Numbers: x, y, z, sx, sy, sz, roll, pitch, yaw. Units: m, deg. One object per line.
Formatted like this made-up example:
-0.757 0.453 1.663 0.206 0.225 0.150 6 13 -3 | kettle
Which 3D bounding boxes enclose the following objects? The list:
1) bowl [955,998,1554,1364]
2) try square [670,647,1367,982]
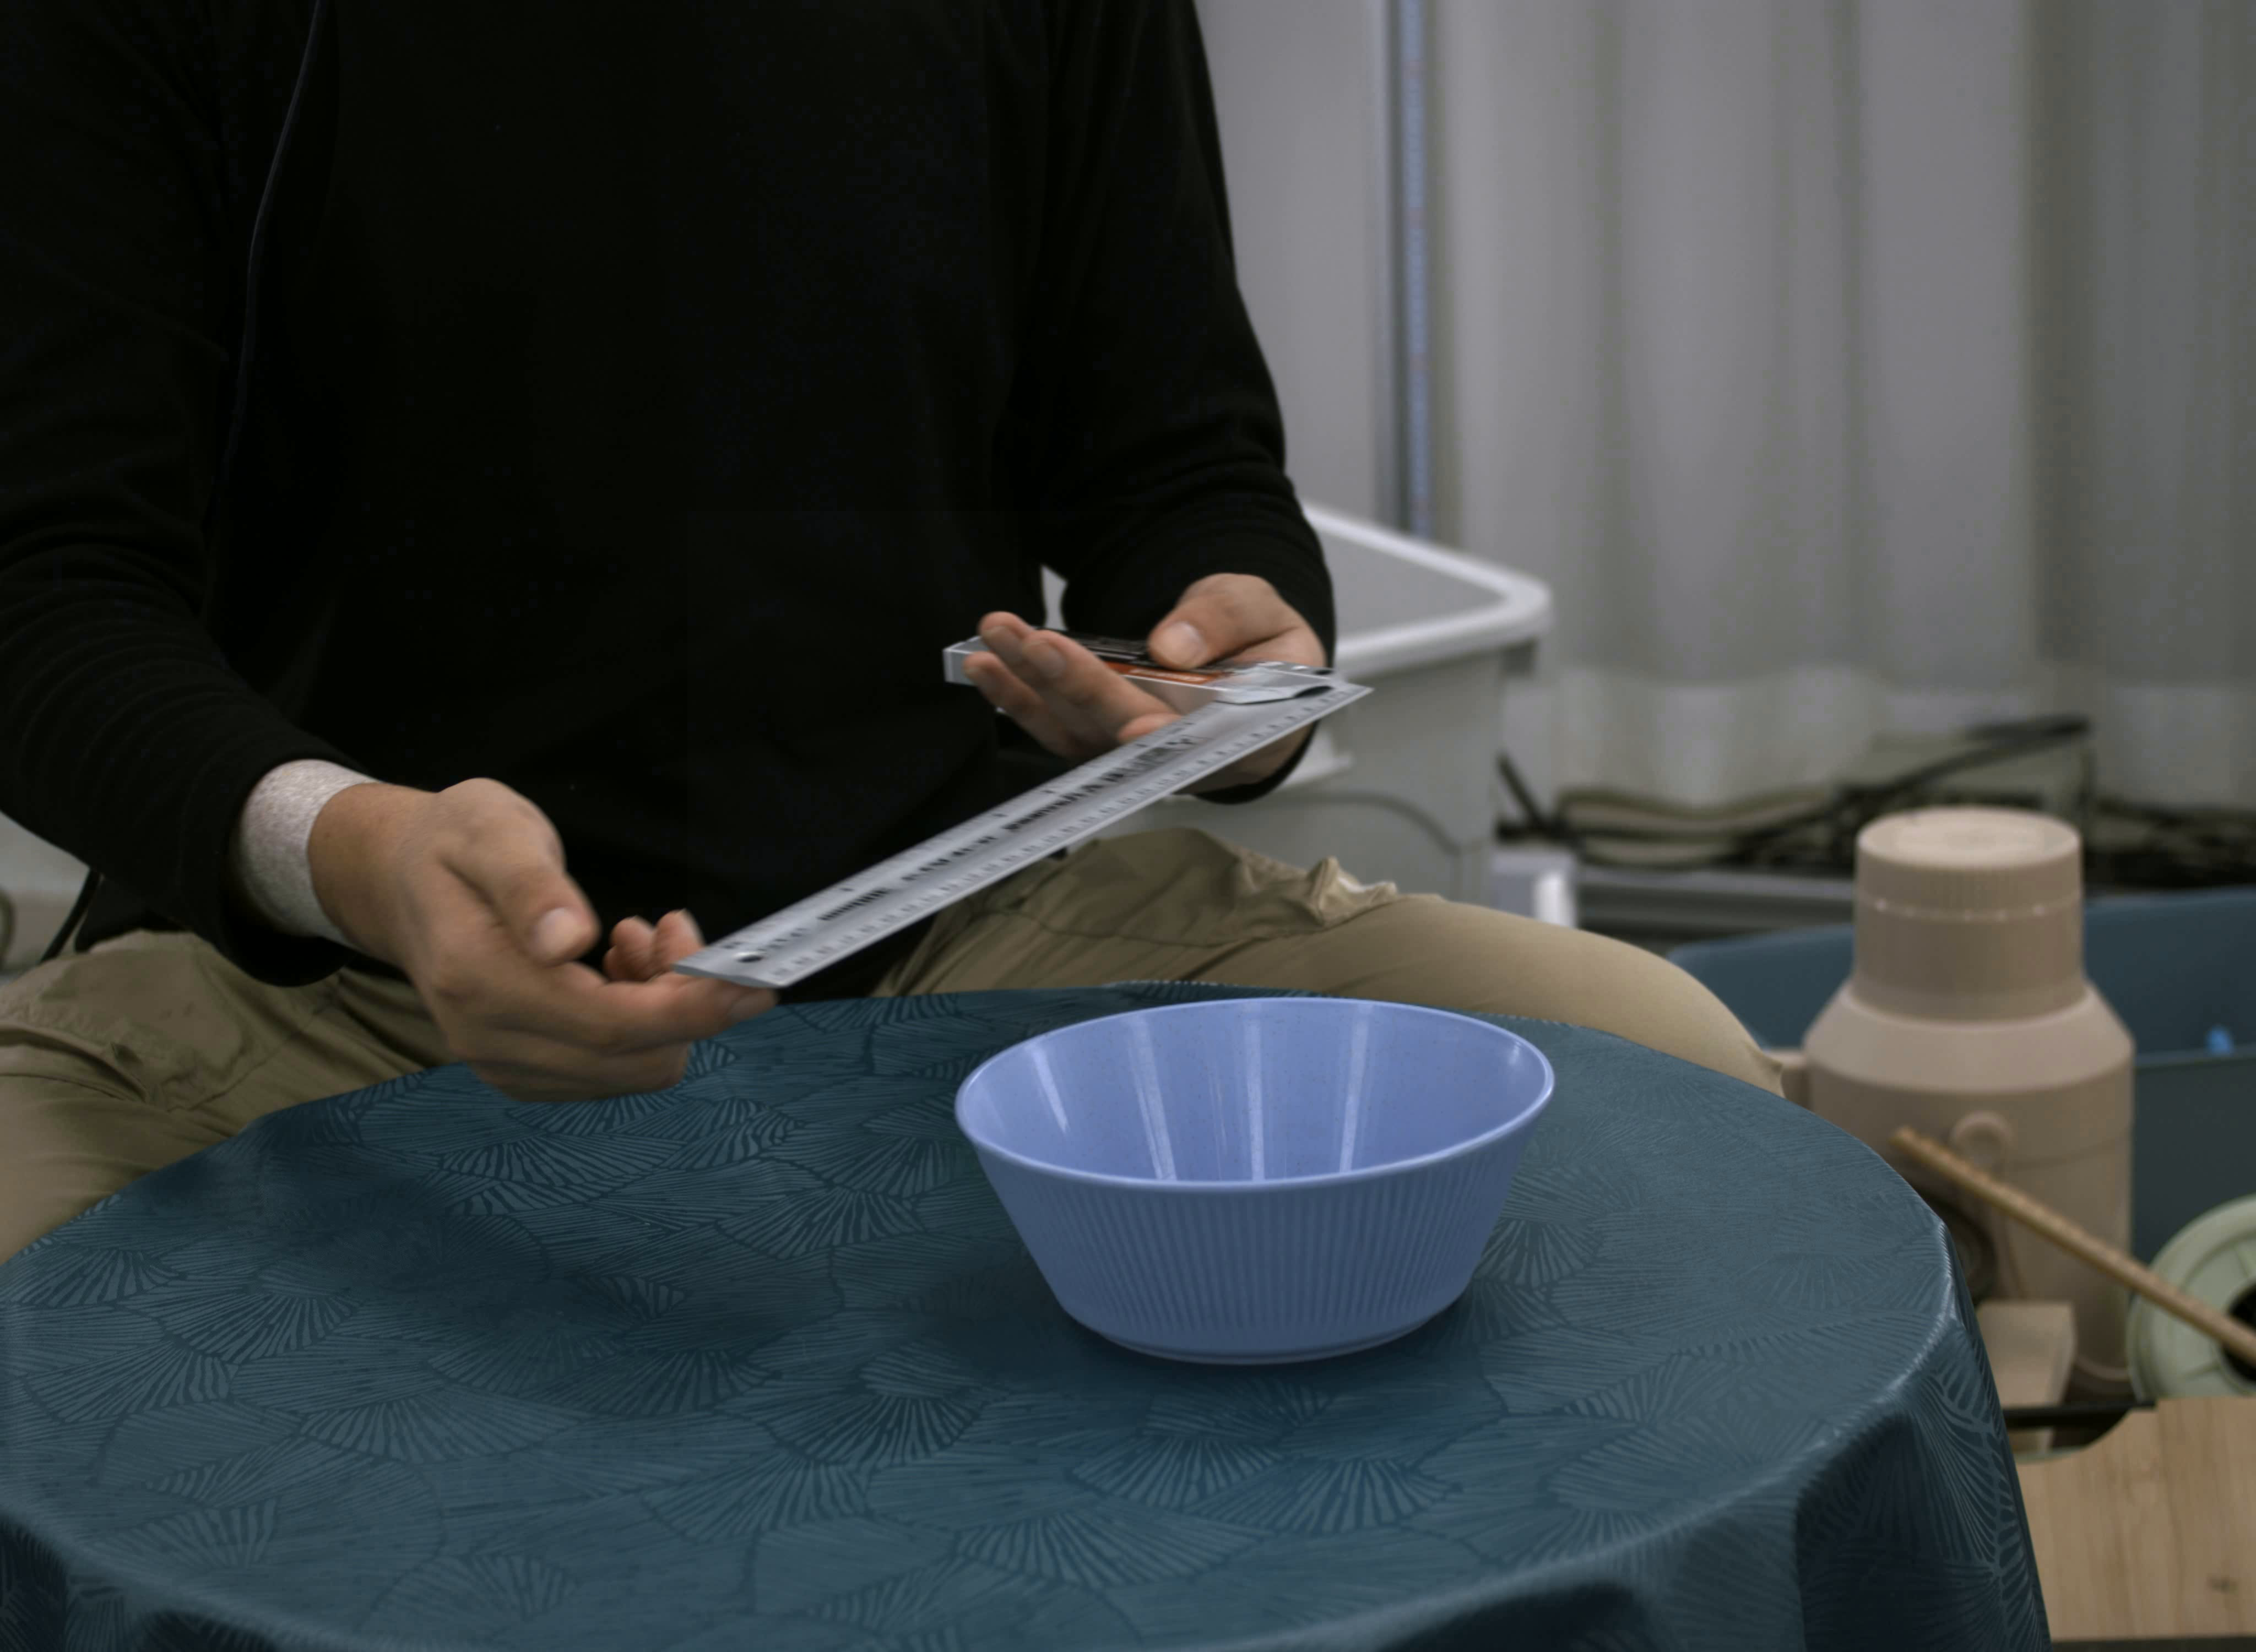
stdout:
0.038 0.107 1.602 0.175 0.070 0.177 -3 15 1 | bowl
-0.070 -0.007 1.711 0.153 0.016 0.313 5 20 36 | try square
